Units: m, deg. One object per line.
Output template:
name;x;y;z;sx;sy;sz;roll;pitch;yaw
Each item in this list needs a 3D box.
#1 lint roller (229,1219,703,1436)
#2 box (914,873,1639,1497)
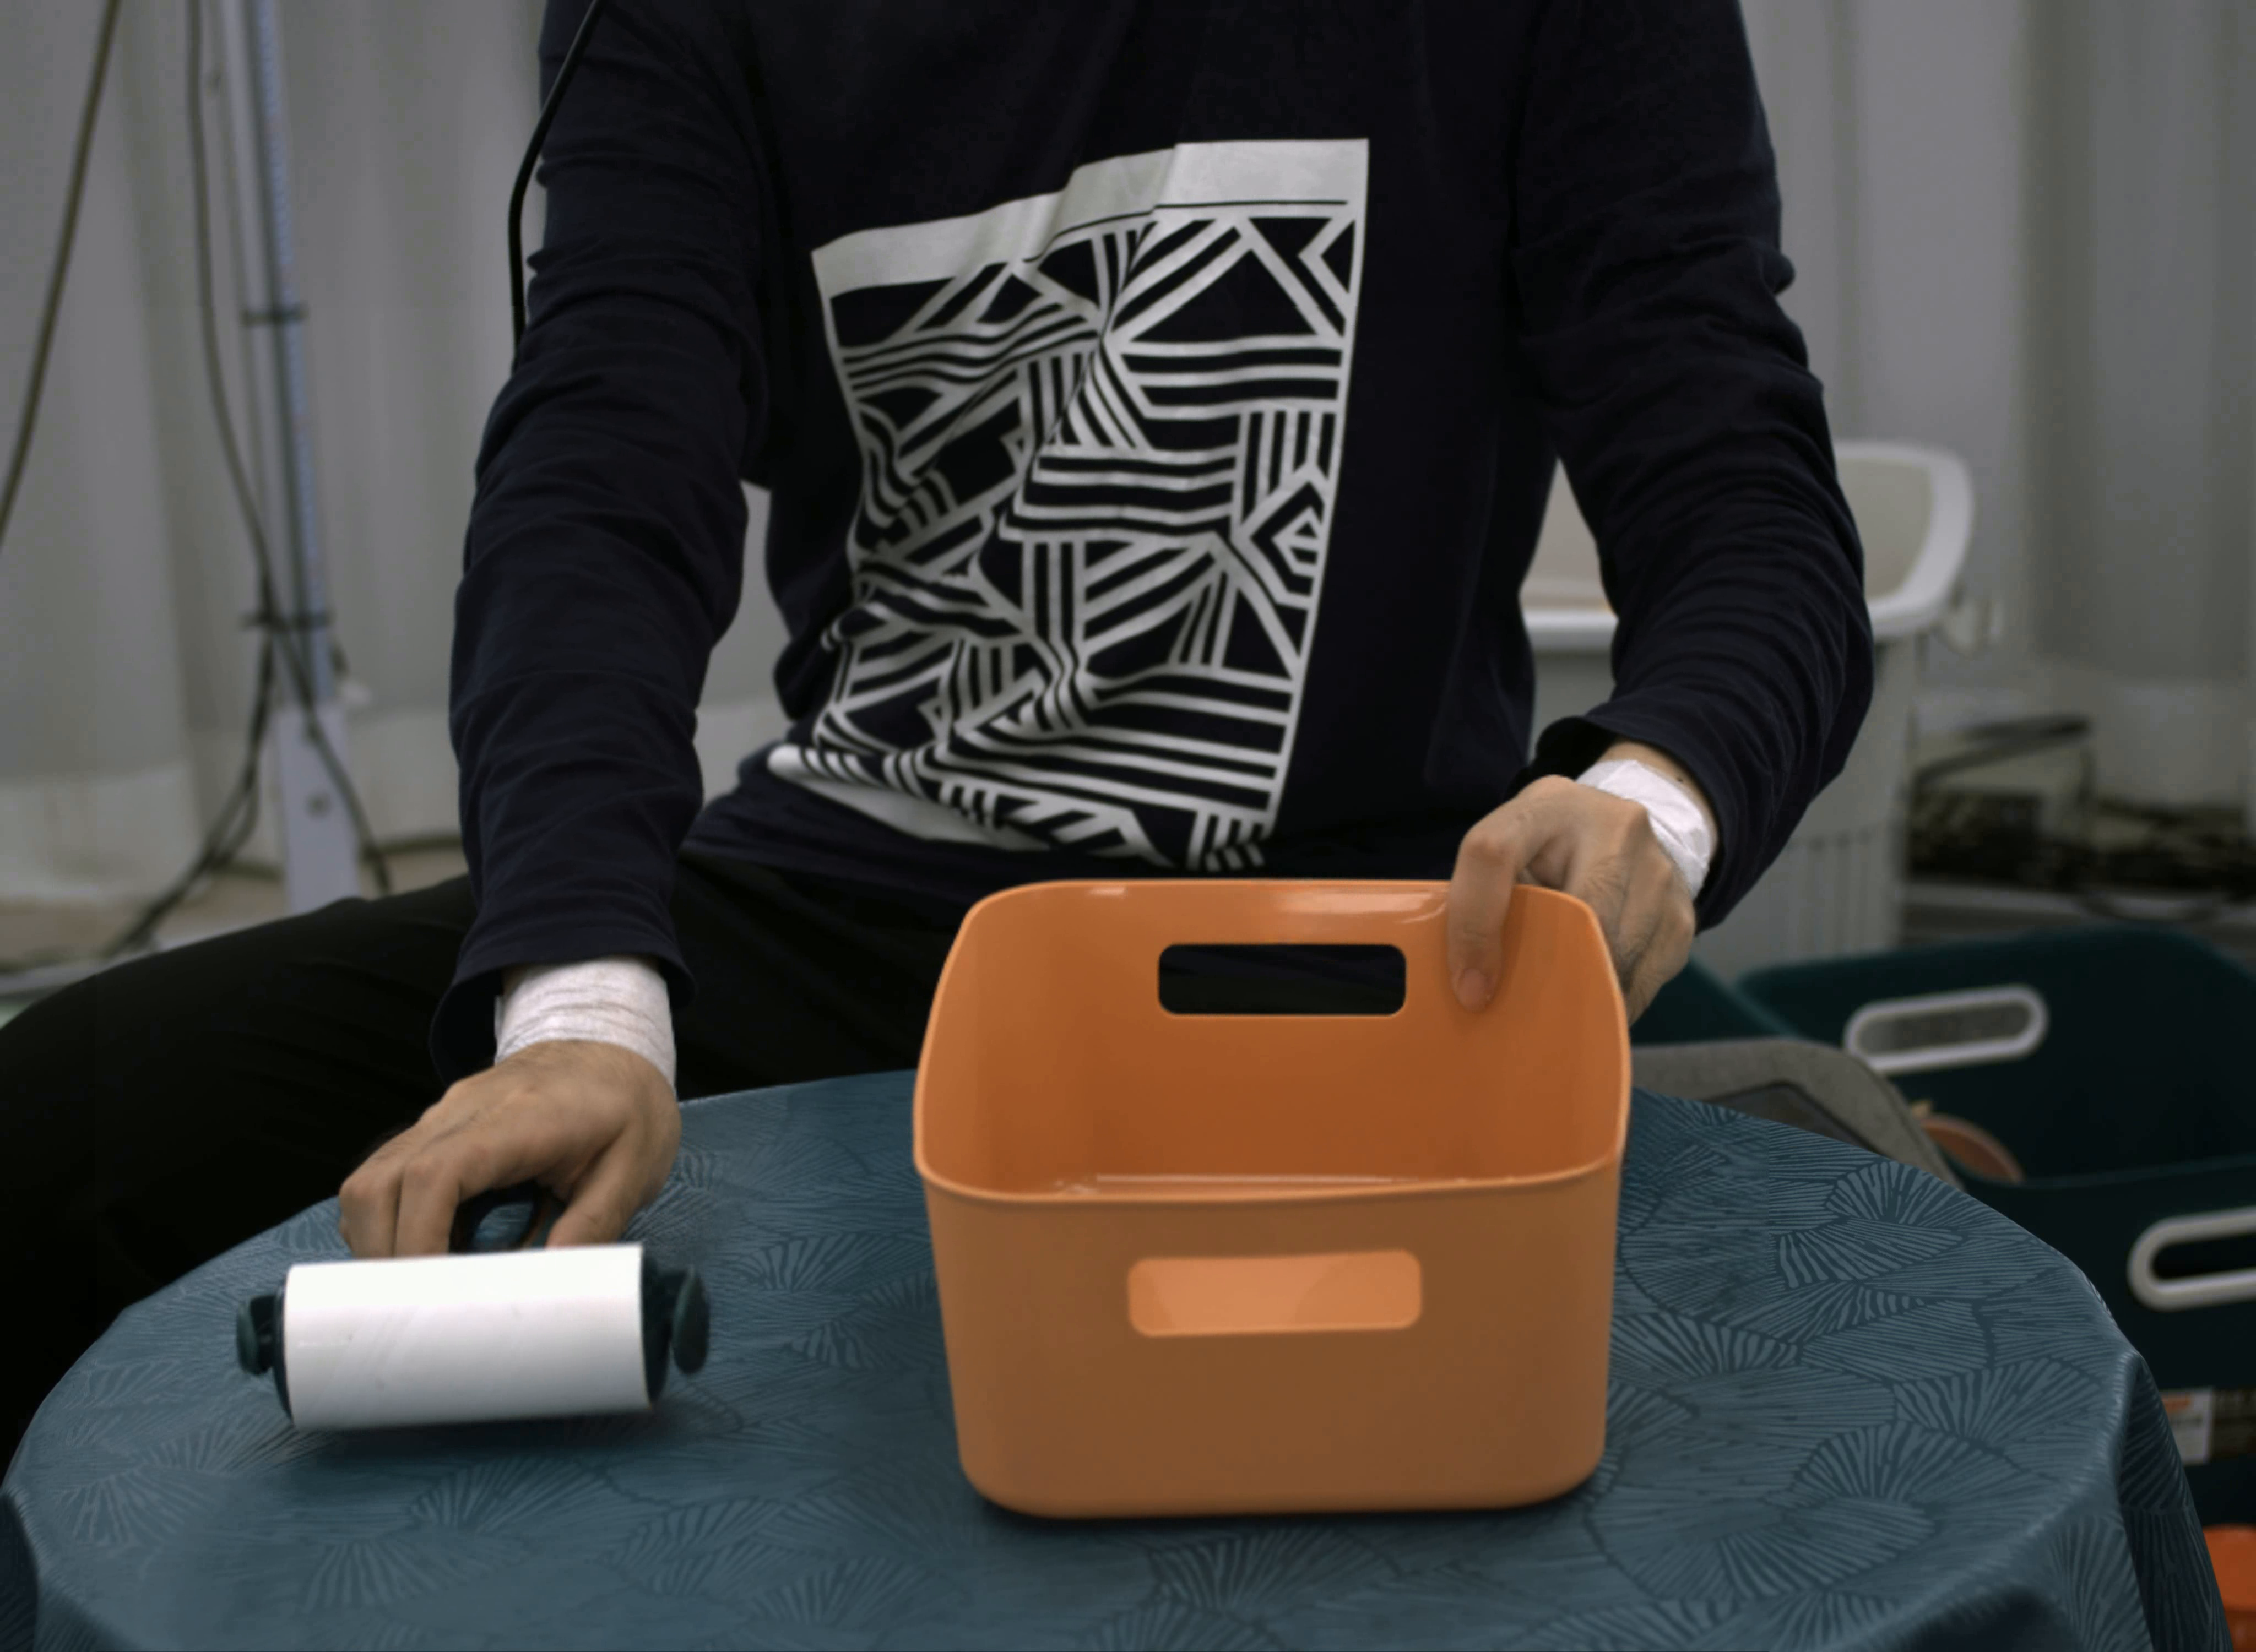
lint roller;-0.187;0.127;1.595;0.134;0.048;0.181;-3;15;-1
box;0.041;0.099;1.545;0.199;0.102;0.275;0;15;1
